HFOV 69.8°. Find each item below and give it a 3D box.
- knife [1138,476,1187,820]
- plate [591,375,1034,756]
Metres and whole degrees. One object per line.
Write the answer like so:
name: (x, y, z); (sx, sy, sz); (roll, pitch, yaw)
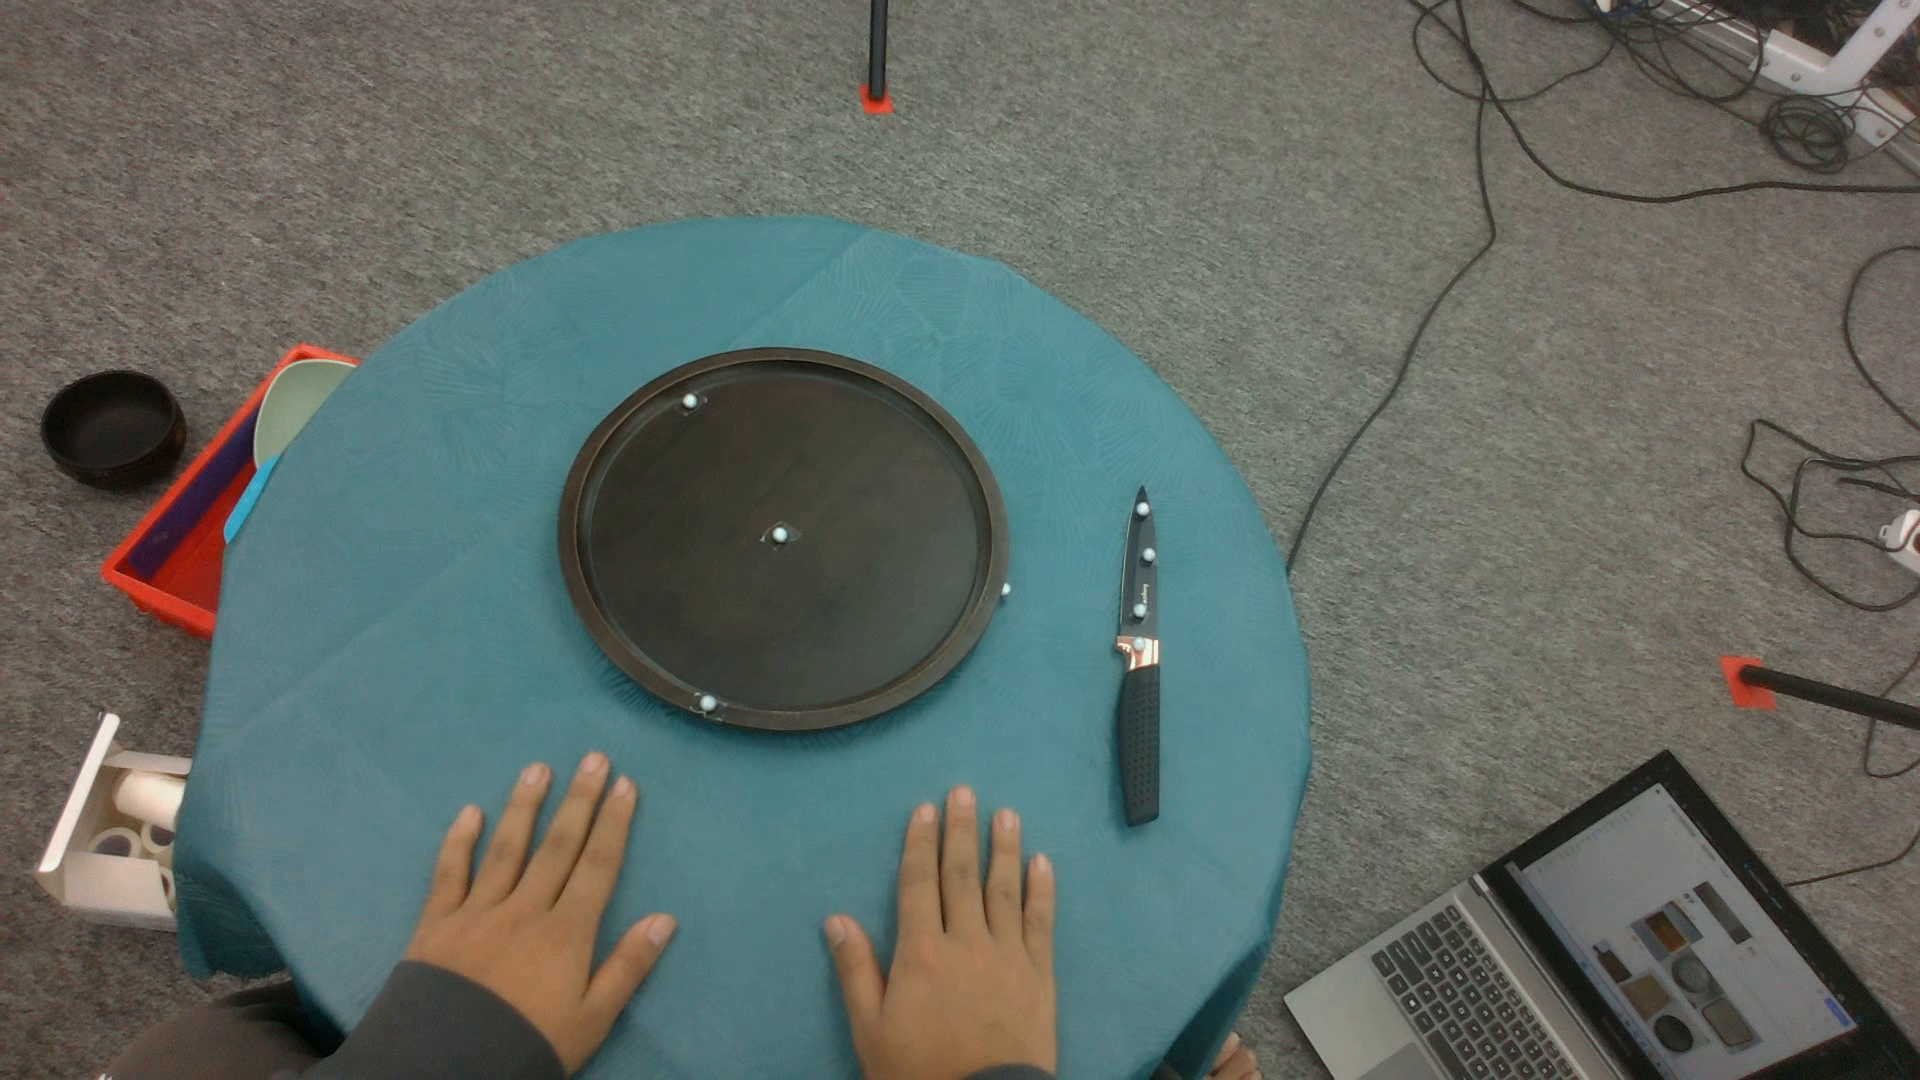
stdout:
knife: (0.118, 0.055, 0.803); (0.026, 0.017, 0.226); (3, 57, 0)
plate: (-0.083, 0.008, 0.800); (0.255, 0.029, 0.256); (4, 59, -6)
